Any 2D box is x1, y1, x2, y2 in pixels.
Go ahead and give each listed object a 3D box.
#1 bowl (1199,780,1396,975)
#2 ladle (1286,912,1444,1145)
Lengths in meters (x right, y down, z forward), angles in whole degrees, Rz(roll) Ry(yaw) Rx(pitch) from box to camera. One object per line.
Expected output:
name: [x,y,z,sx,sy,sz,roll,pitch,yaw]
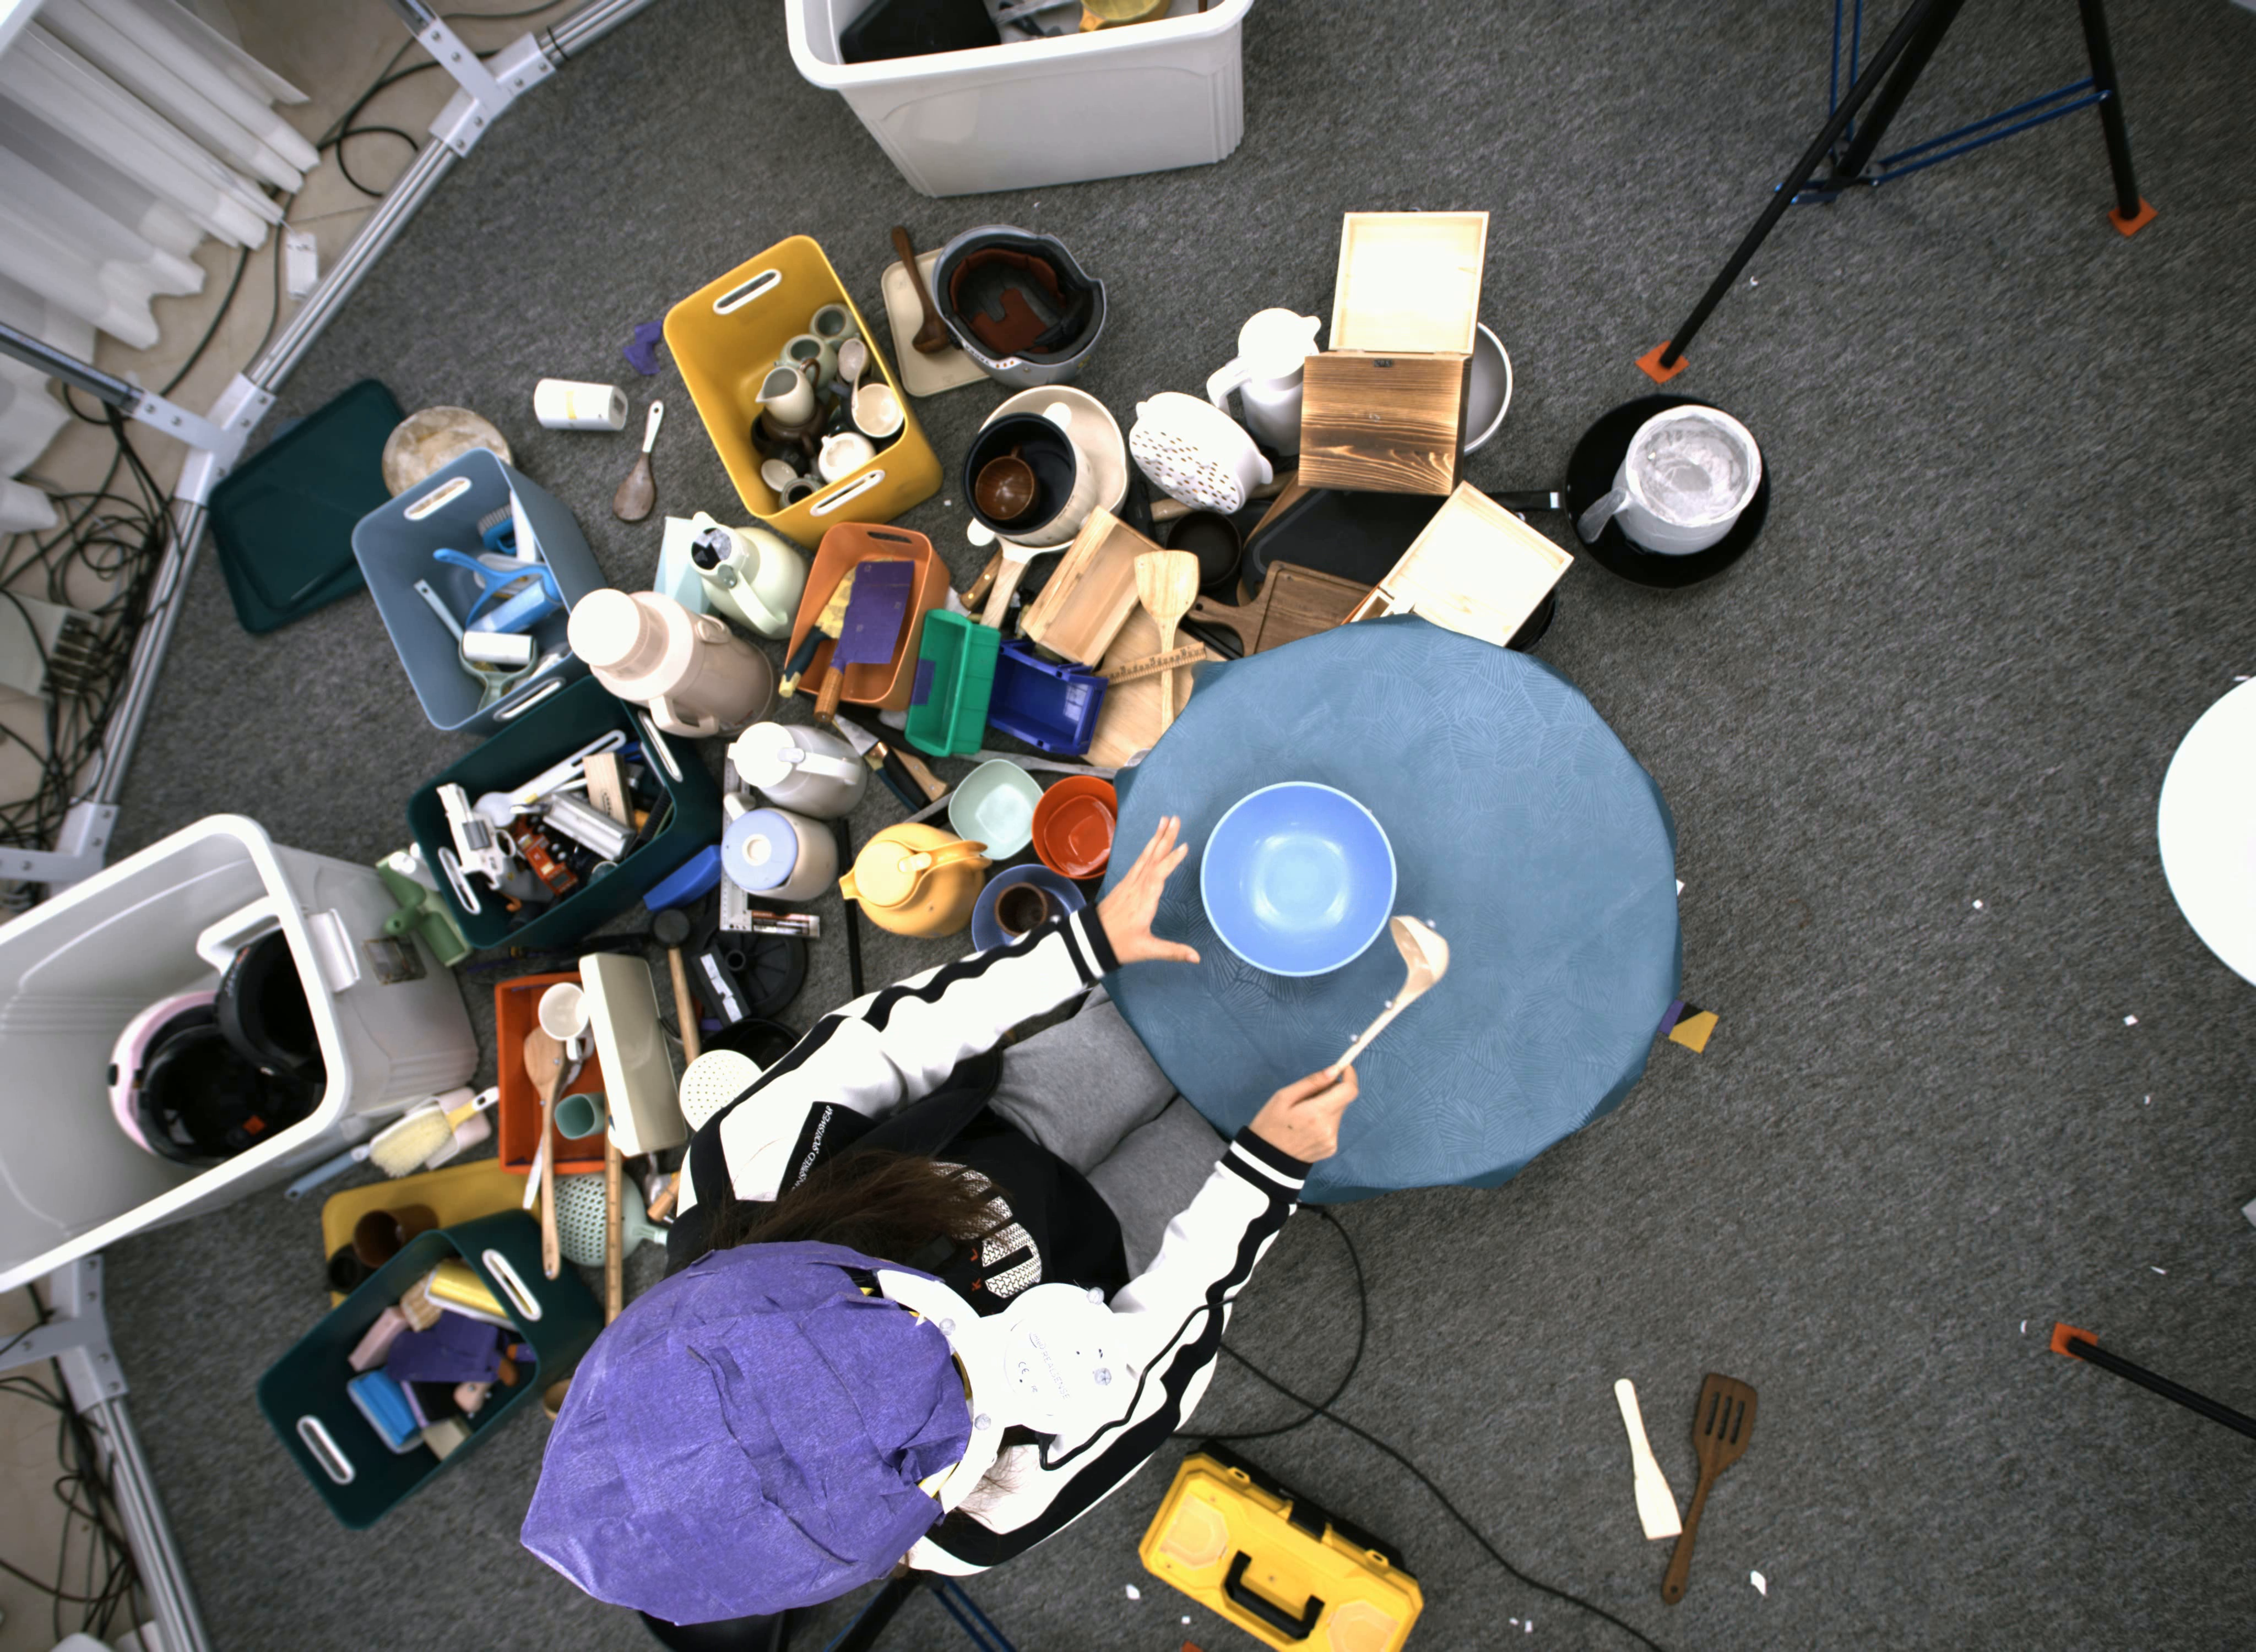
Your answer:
bowl: [0.175,0.057,1.429,0.197,0.096,0.195,-1,84,9]
ladle: [0.209,0.193,1.336,0.073,0.071,0.256,34,97,-30]
